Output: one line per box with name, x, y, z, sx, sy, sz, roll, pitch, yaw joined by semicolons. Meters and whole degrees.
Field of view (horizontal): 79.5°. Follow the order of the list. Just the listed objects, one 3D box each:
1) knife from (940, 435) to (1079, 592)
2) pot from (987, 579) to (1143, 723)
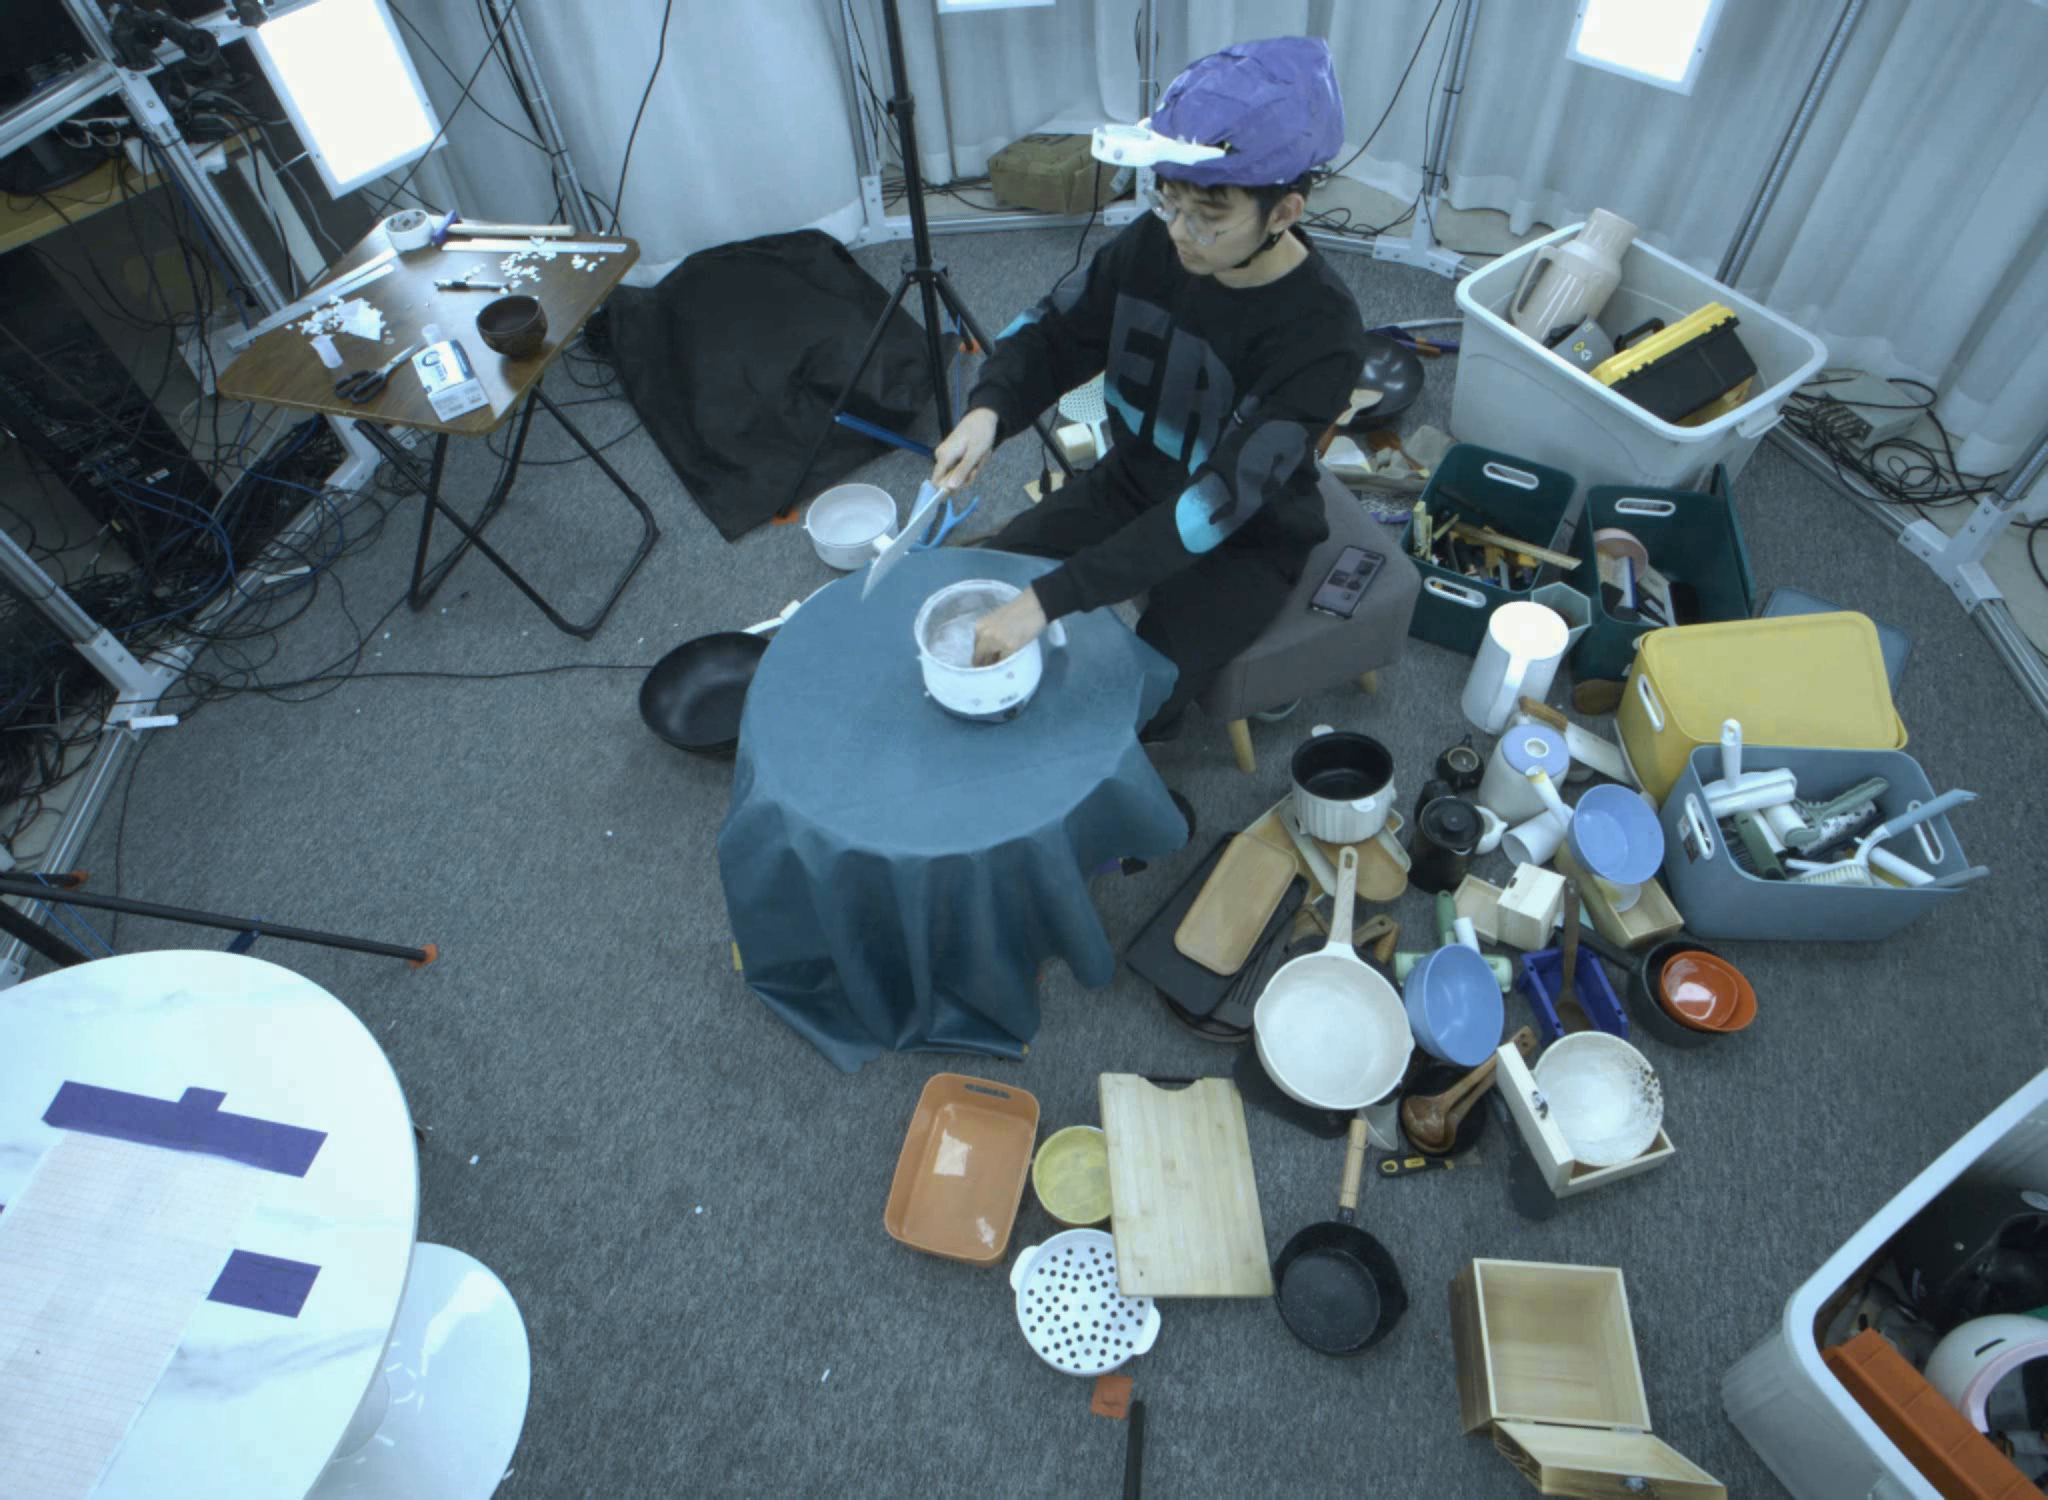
knife;-0.020;-0.349;1.758;0.021;0.114;0.316;37;68;4
pot;0.066;-0.154;1.809;0.235;0.138;0.175;-24;58;-12
